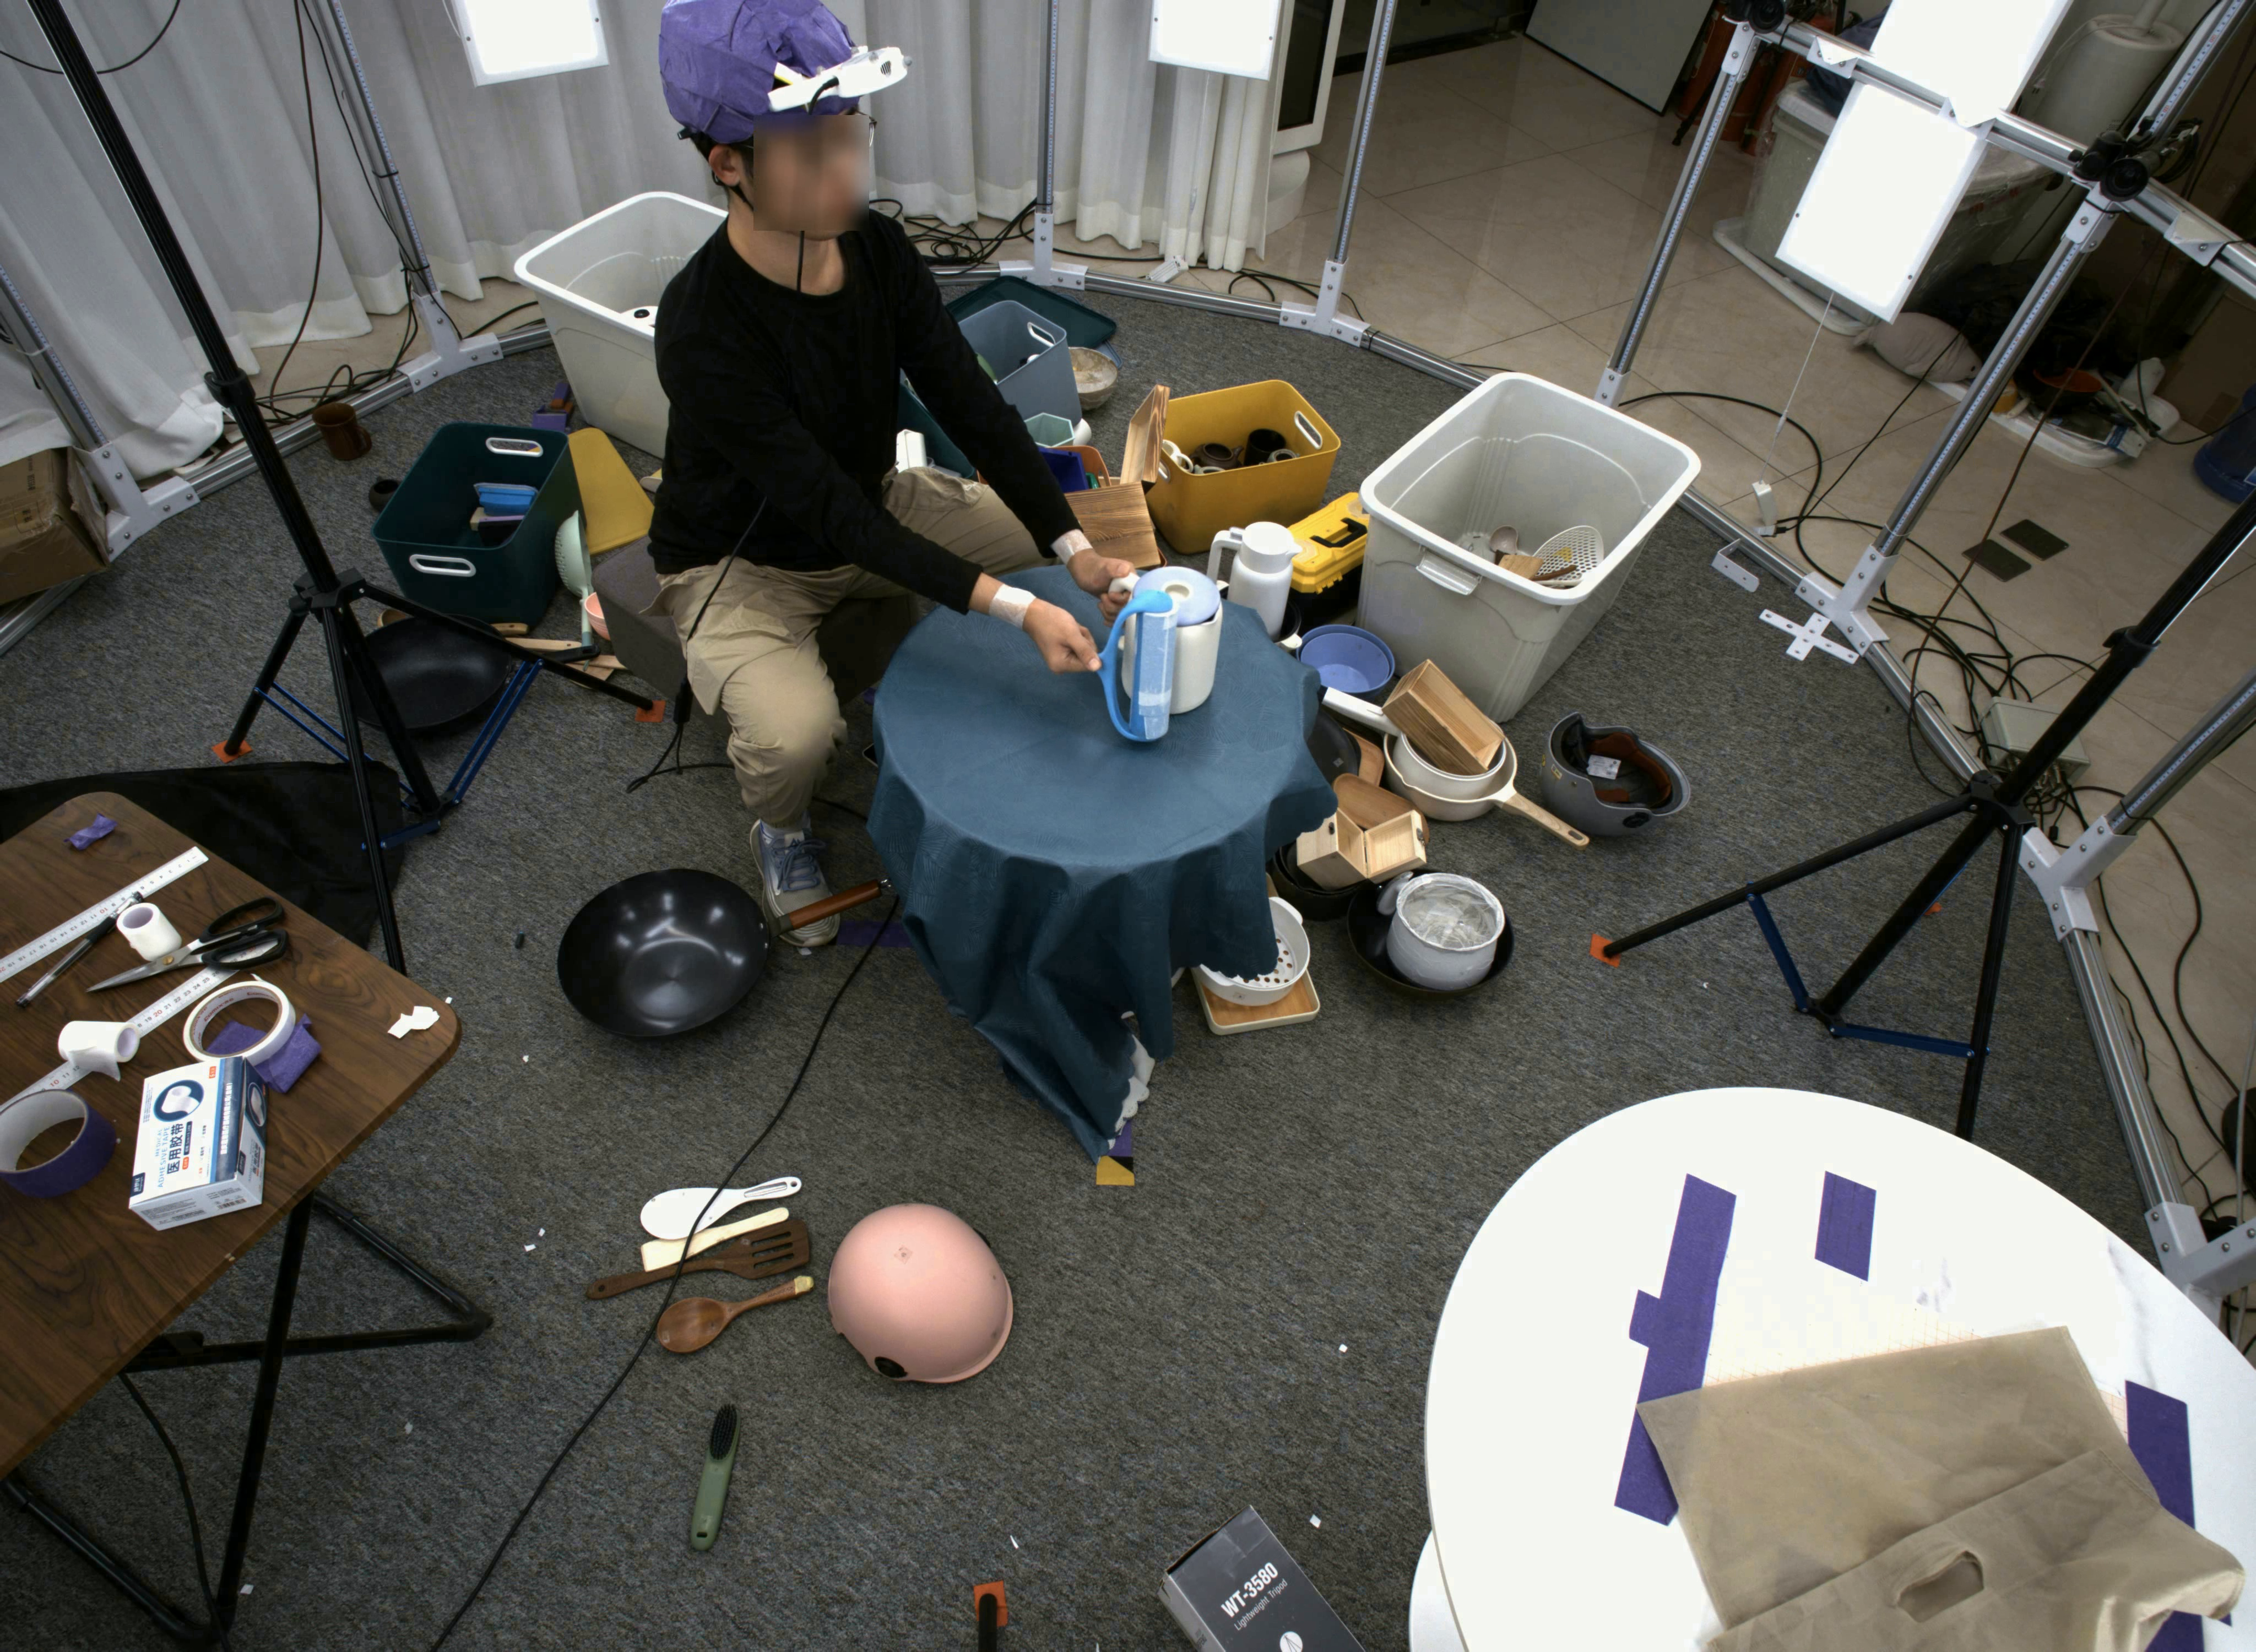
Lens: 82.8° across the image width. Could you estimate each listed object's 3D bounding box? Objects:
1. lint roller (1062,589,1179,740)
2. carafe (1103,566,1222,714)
[{"bbox_3d":[-0.020,-0.227,1.721,0.181,0.223,0.069,17,42,19],"label":"lint roller"},{"bbox_3d":[0.042,-0.271,1.797,0.194,0.178,0.133,34,54,26],"label":"carafe"}]
